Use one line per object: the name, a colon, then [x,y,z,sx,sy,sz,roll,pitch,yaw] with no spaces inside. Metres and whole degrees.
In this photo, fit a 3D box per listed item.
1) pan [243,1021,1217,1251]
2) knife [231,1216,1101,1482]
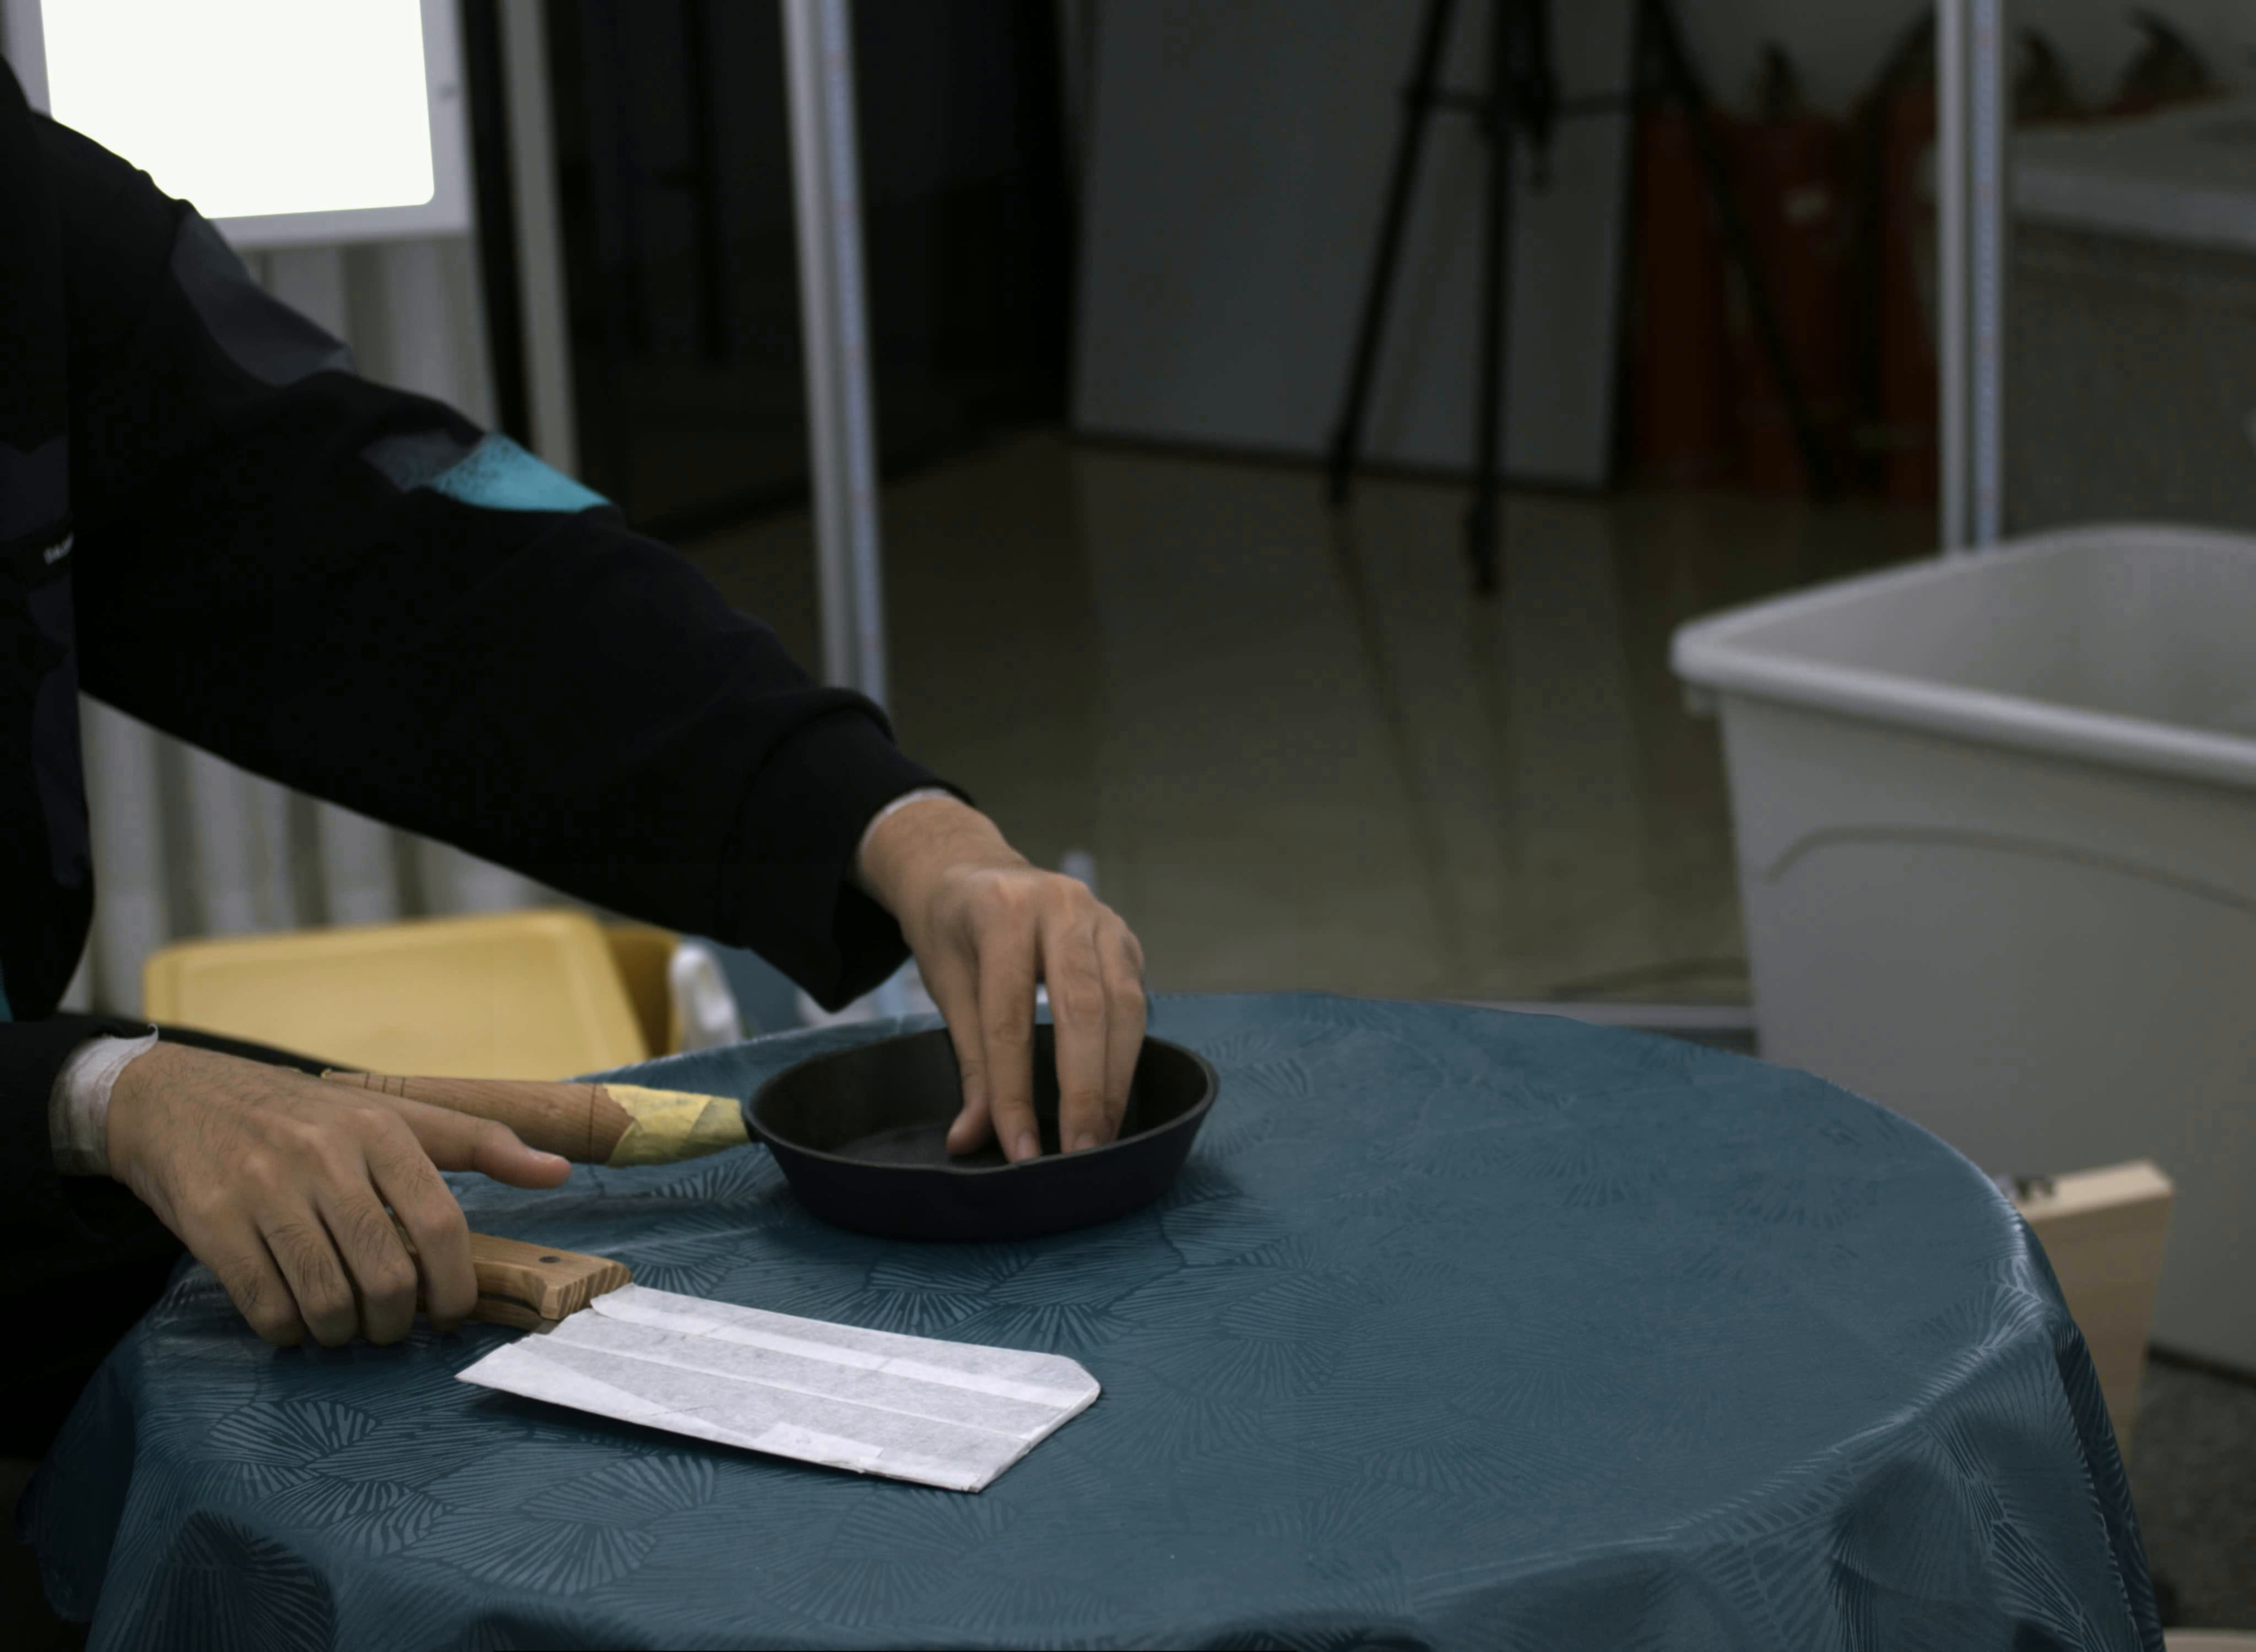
pan: [-0.130,0.102,1.784,0.320,0.050,0.169,-3,14,2]
knife: [-0.147,0.156,1.635,0.317,0.022,0.112,9,19,34]
